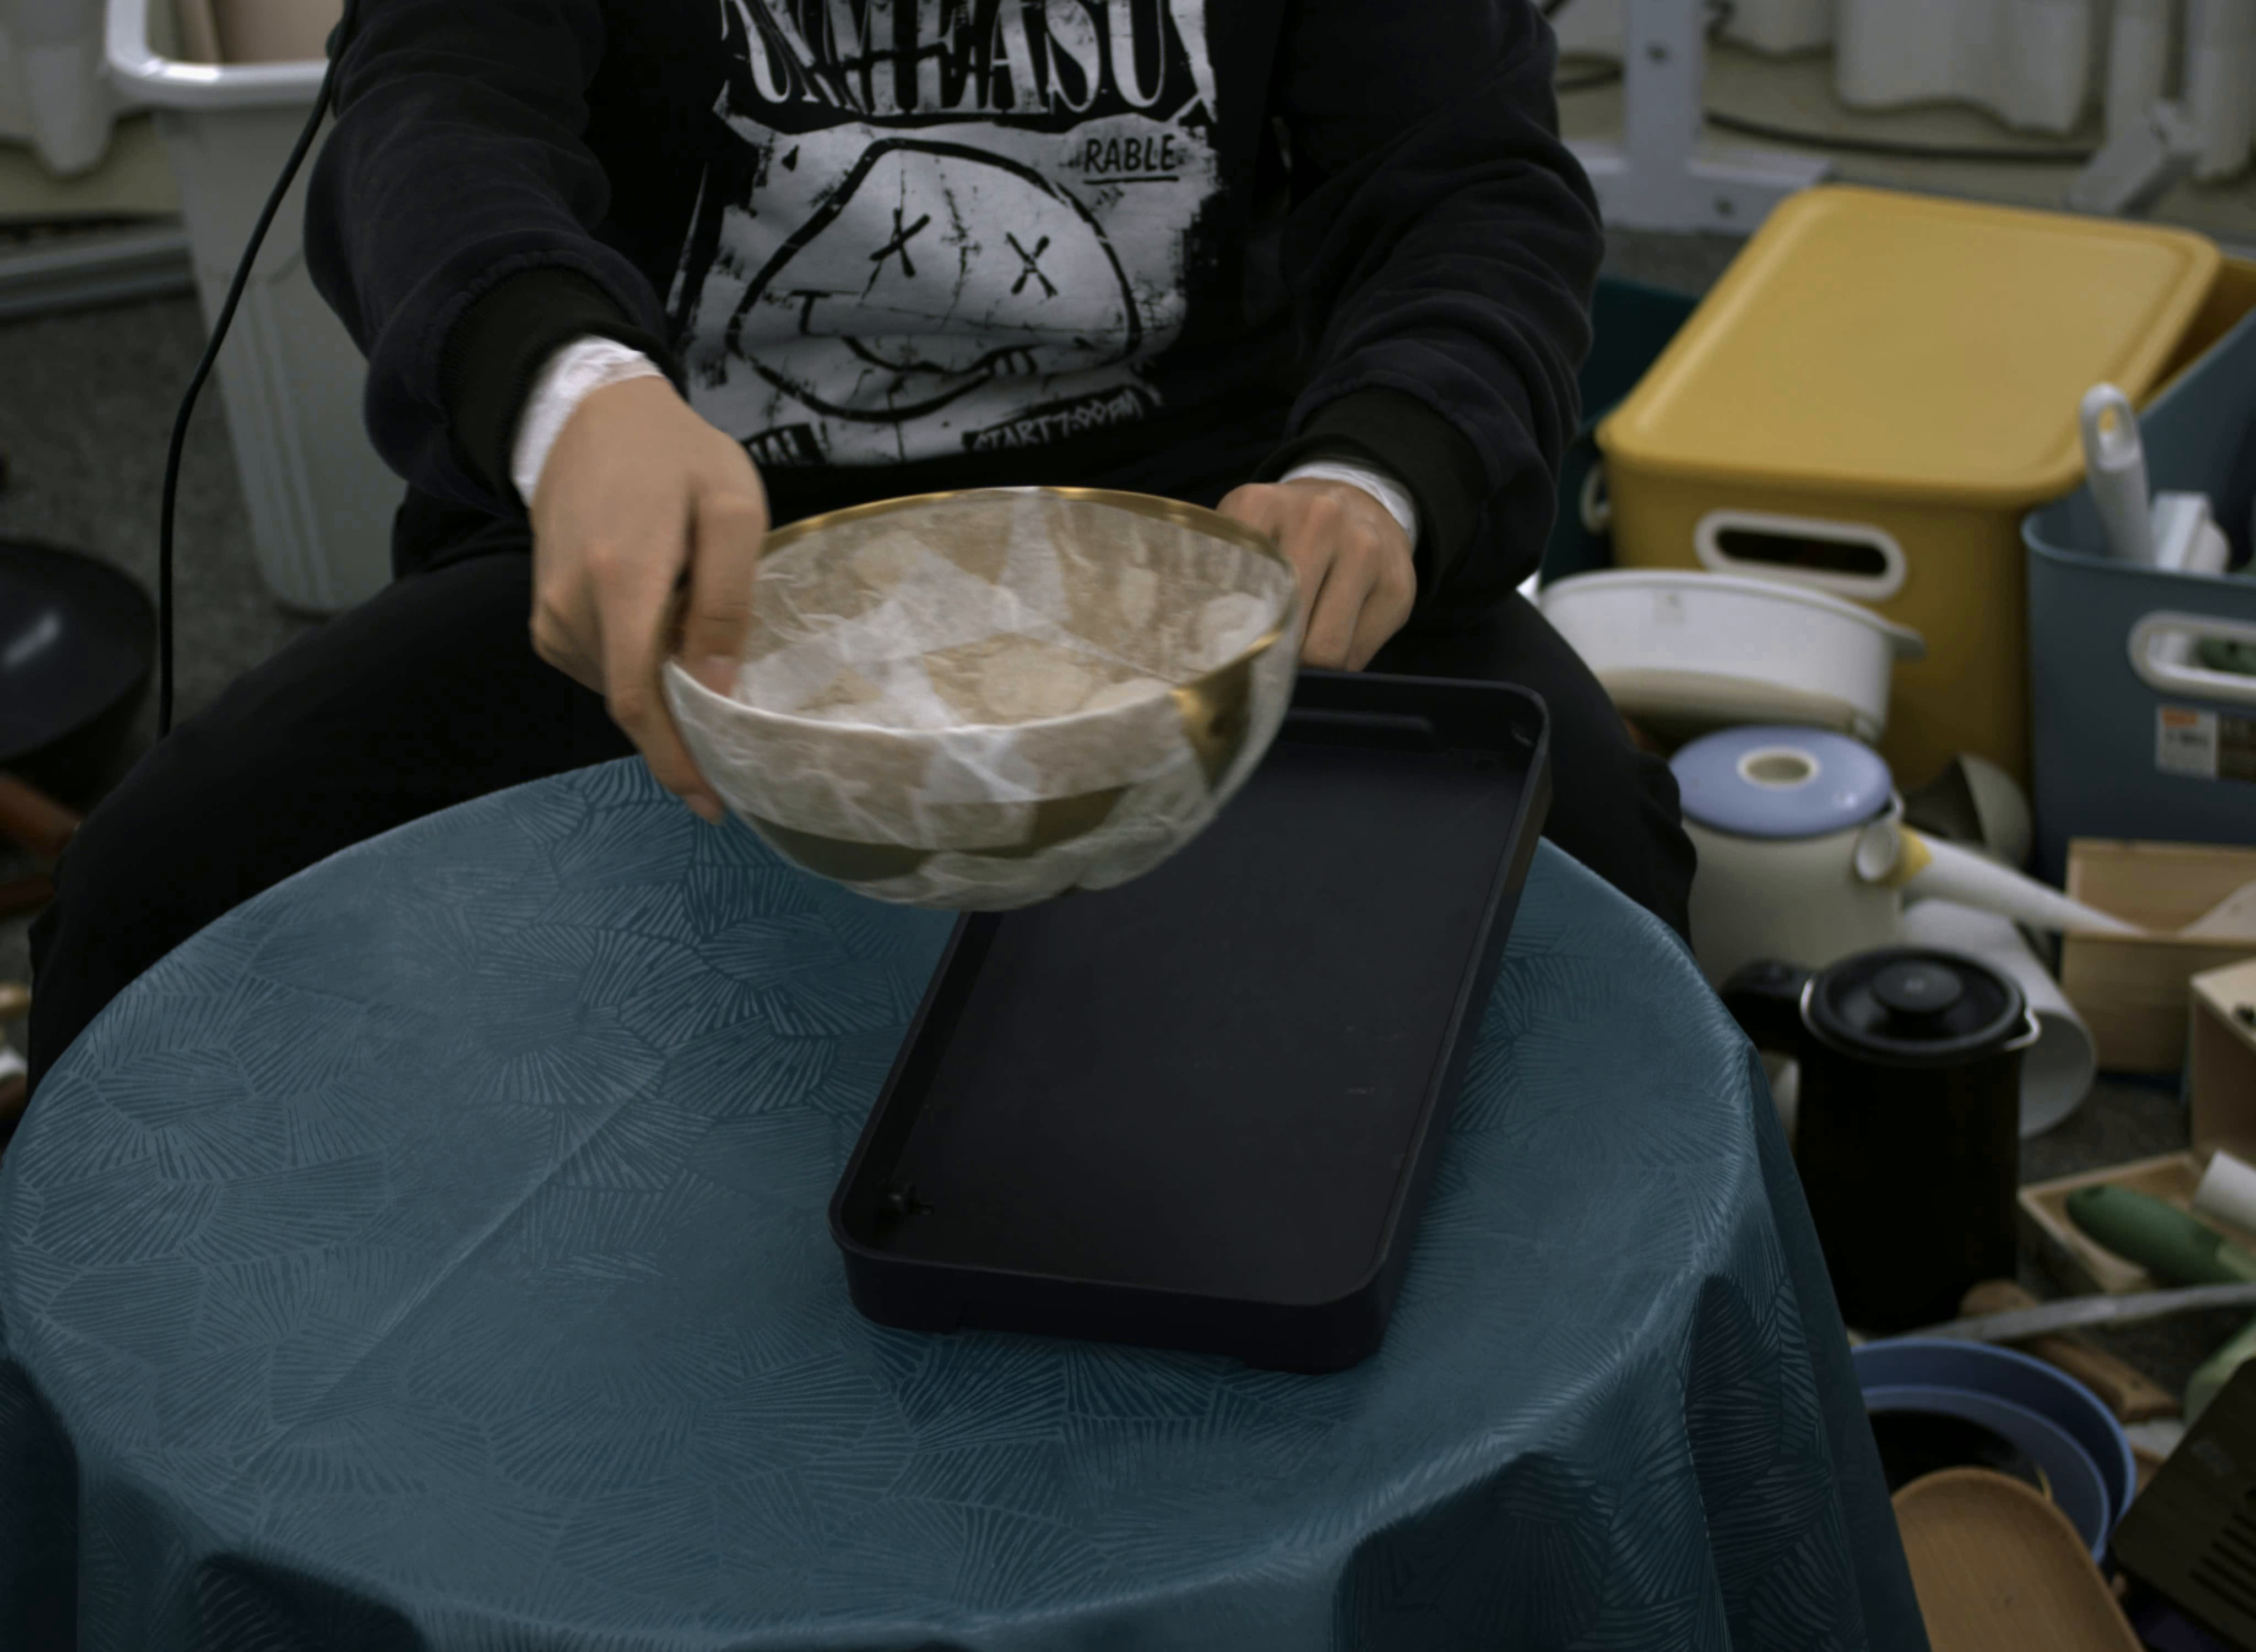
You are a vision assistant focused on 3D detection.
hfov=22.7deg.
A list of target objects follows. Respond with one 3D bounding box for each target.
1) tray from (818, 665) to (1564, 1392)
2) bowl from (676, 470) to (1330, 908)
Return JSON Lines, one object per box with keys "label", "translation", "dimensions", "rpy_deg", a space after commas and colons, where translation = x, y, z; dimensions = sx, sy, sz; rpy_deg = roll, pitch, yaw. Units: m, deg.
{"label": "tray", "translation": [0.028, 0.058, 1.886], "dimensions": [0.183, 0.036, 0.324], "rpy_deg": [6, 41, 15]}
{"label": "bowl", "translation": [-0.035, -0.032, 1.771], "dimensions": [0.213, 0.094, 0.217], "rpy_deg": [-4, 23, 2]}
